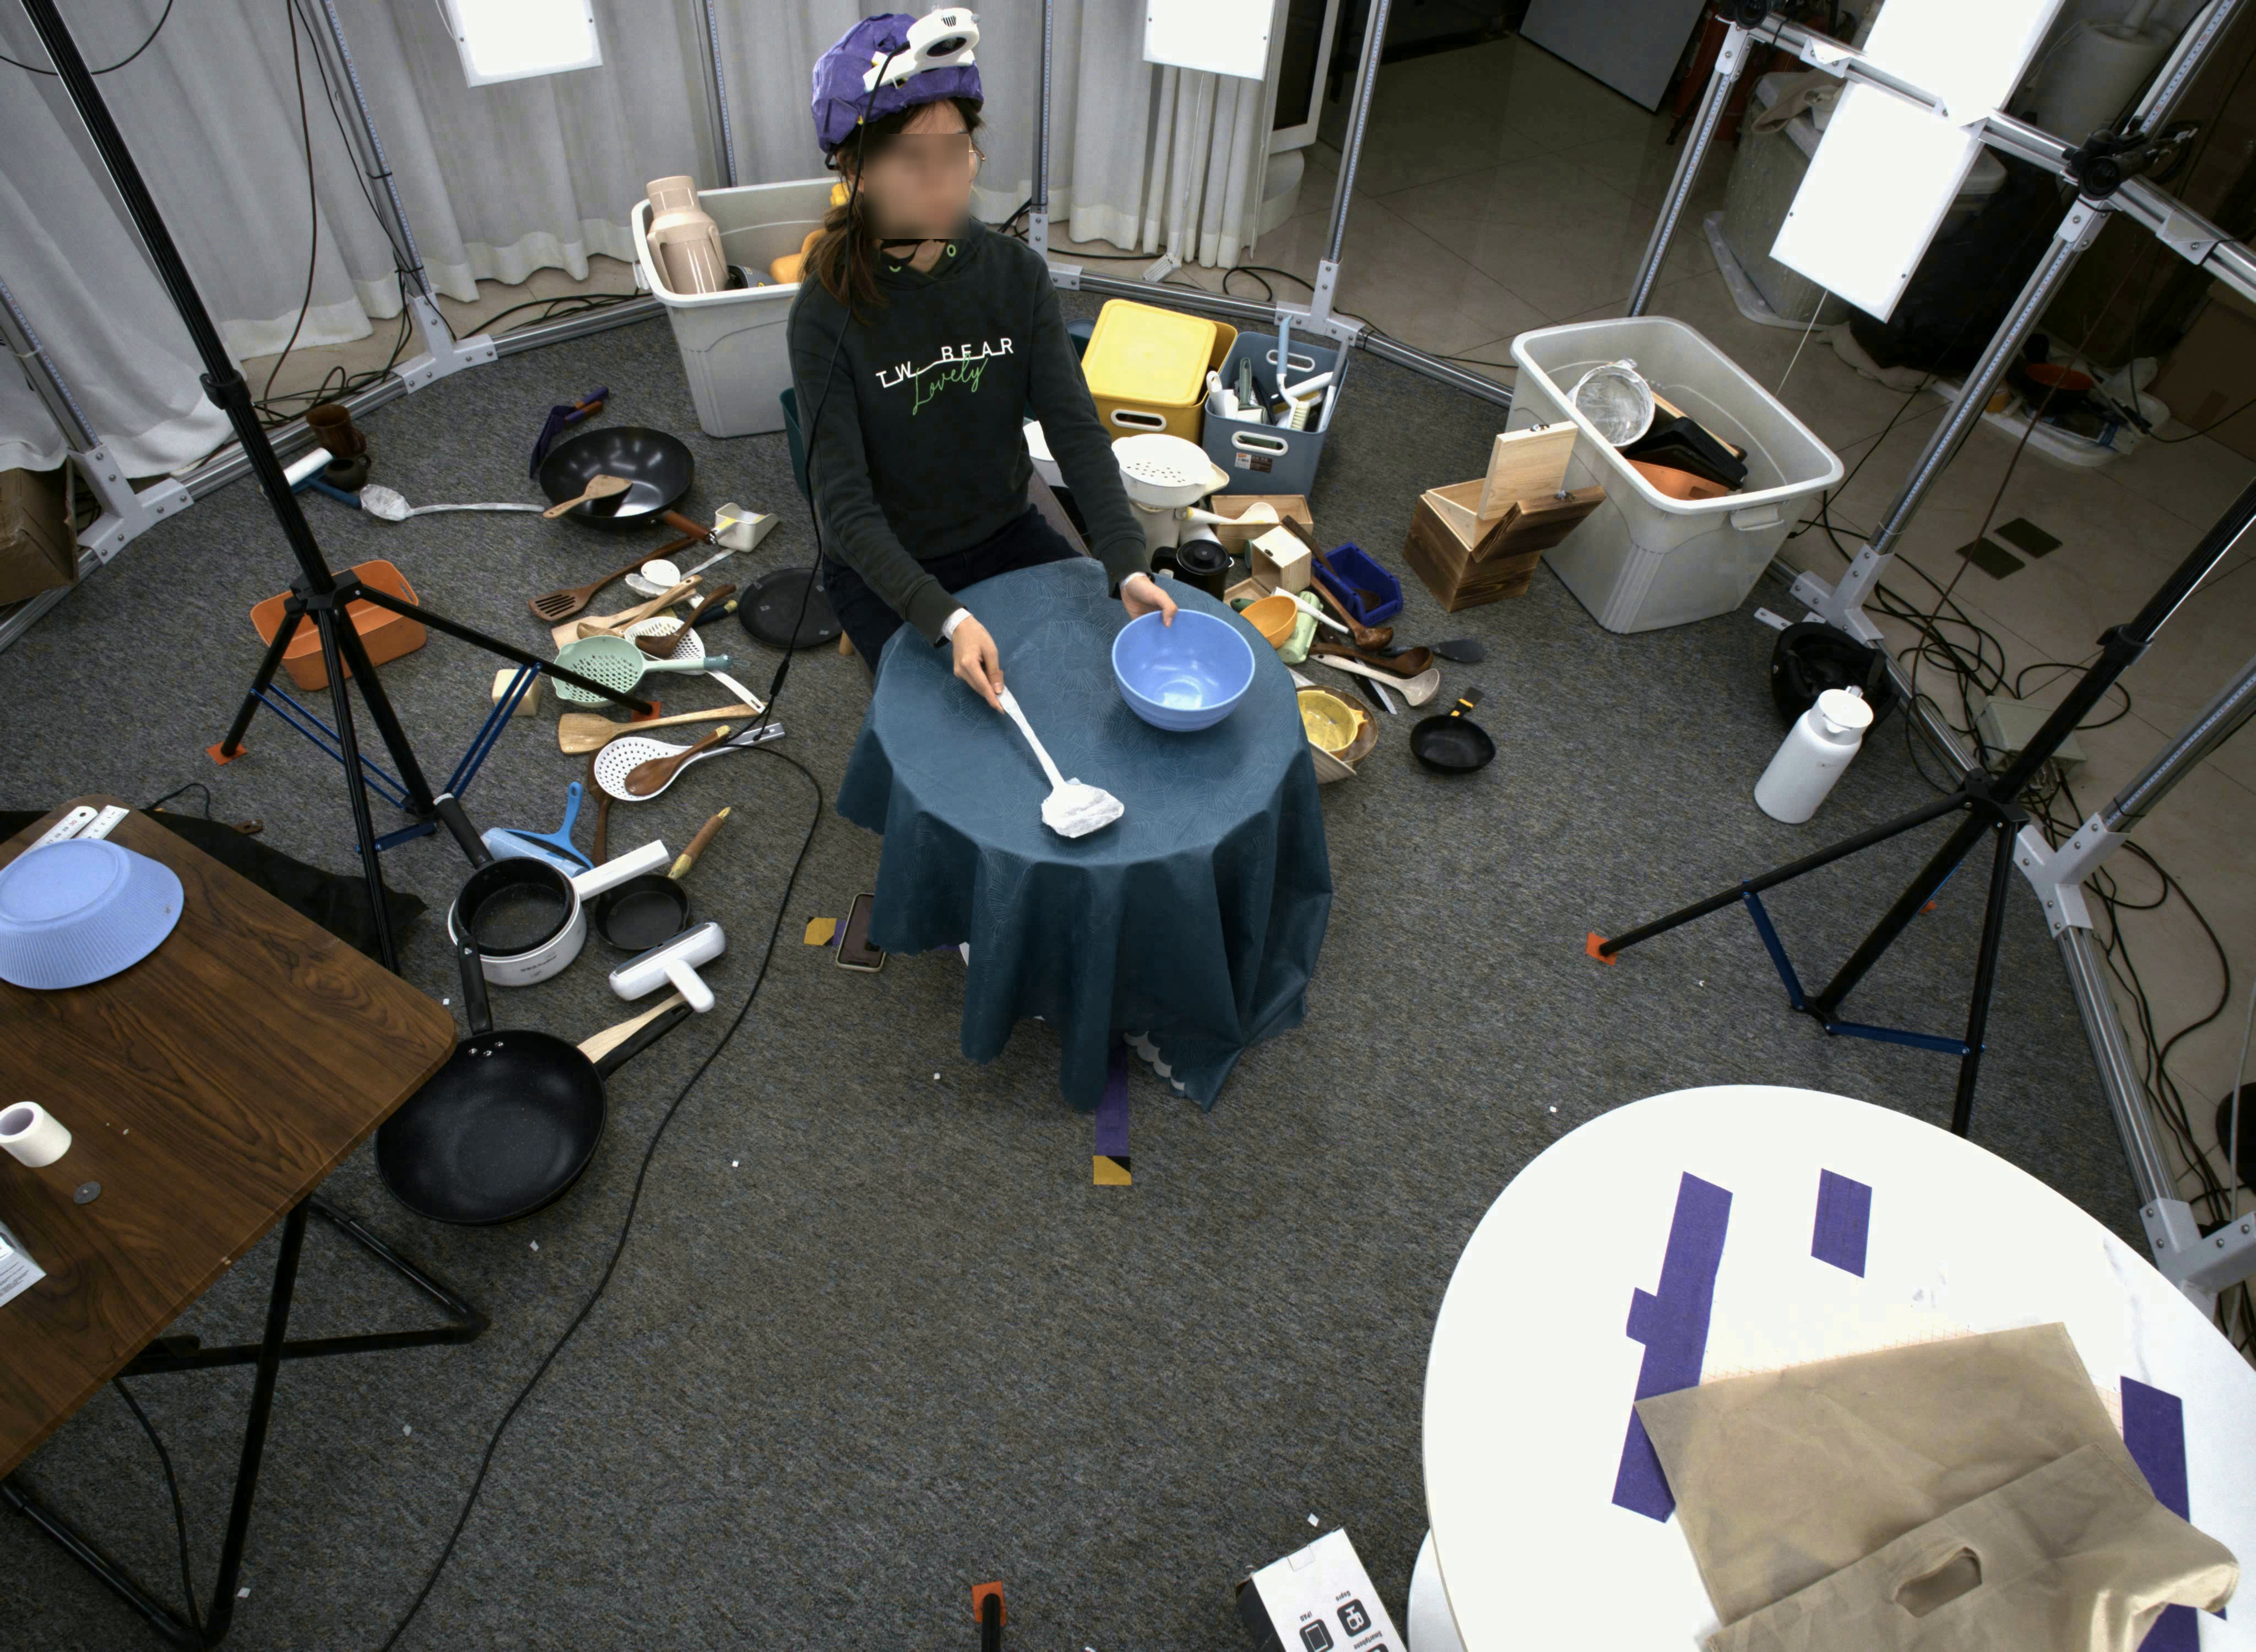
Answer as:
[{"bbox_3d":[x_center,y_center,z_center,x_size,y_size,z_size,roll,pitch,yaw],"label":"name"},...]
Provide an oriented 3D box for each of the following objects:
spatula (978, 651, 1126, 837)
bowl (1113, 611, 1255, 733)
[{"bbox_3d":[-0.125,-0.122,1.741,0.099,0.044,0.372,-23,60,-17],"label":"spatula"},{"bbox_3d":[0.074,-0.201,1.800,0.196,0.093,0.201,2,52,-3],"label":"bowl"}]
